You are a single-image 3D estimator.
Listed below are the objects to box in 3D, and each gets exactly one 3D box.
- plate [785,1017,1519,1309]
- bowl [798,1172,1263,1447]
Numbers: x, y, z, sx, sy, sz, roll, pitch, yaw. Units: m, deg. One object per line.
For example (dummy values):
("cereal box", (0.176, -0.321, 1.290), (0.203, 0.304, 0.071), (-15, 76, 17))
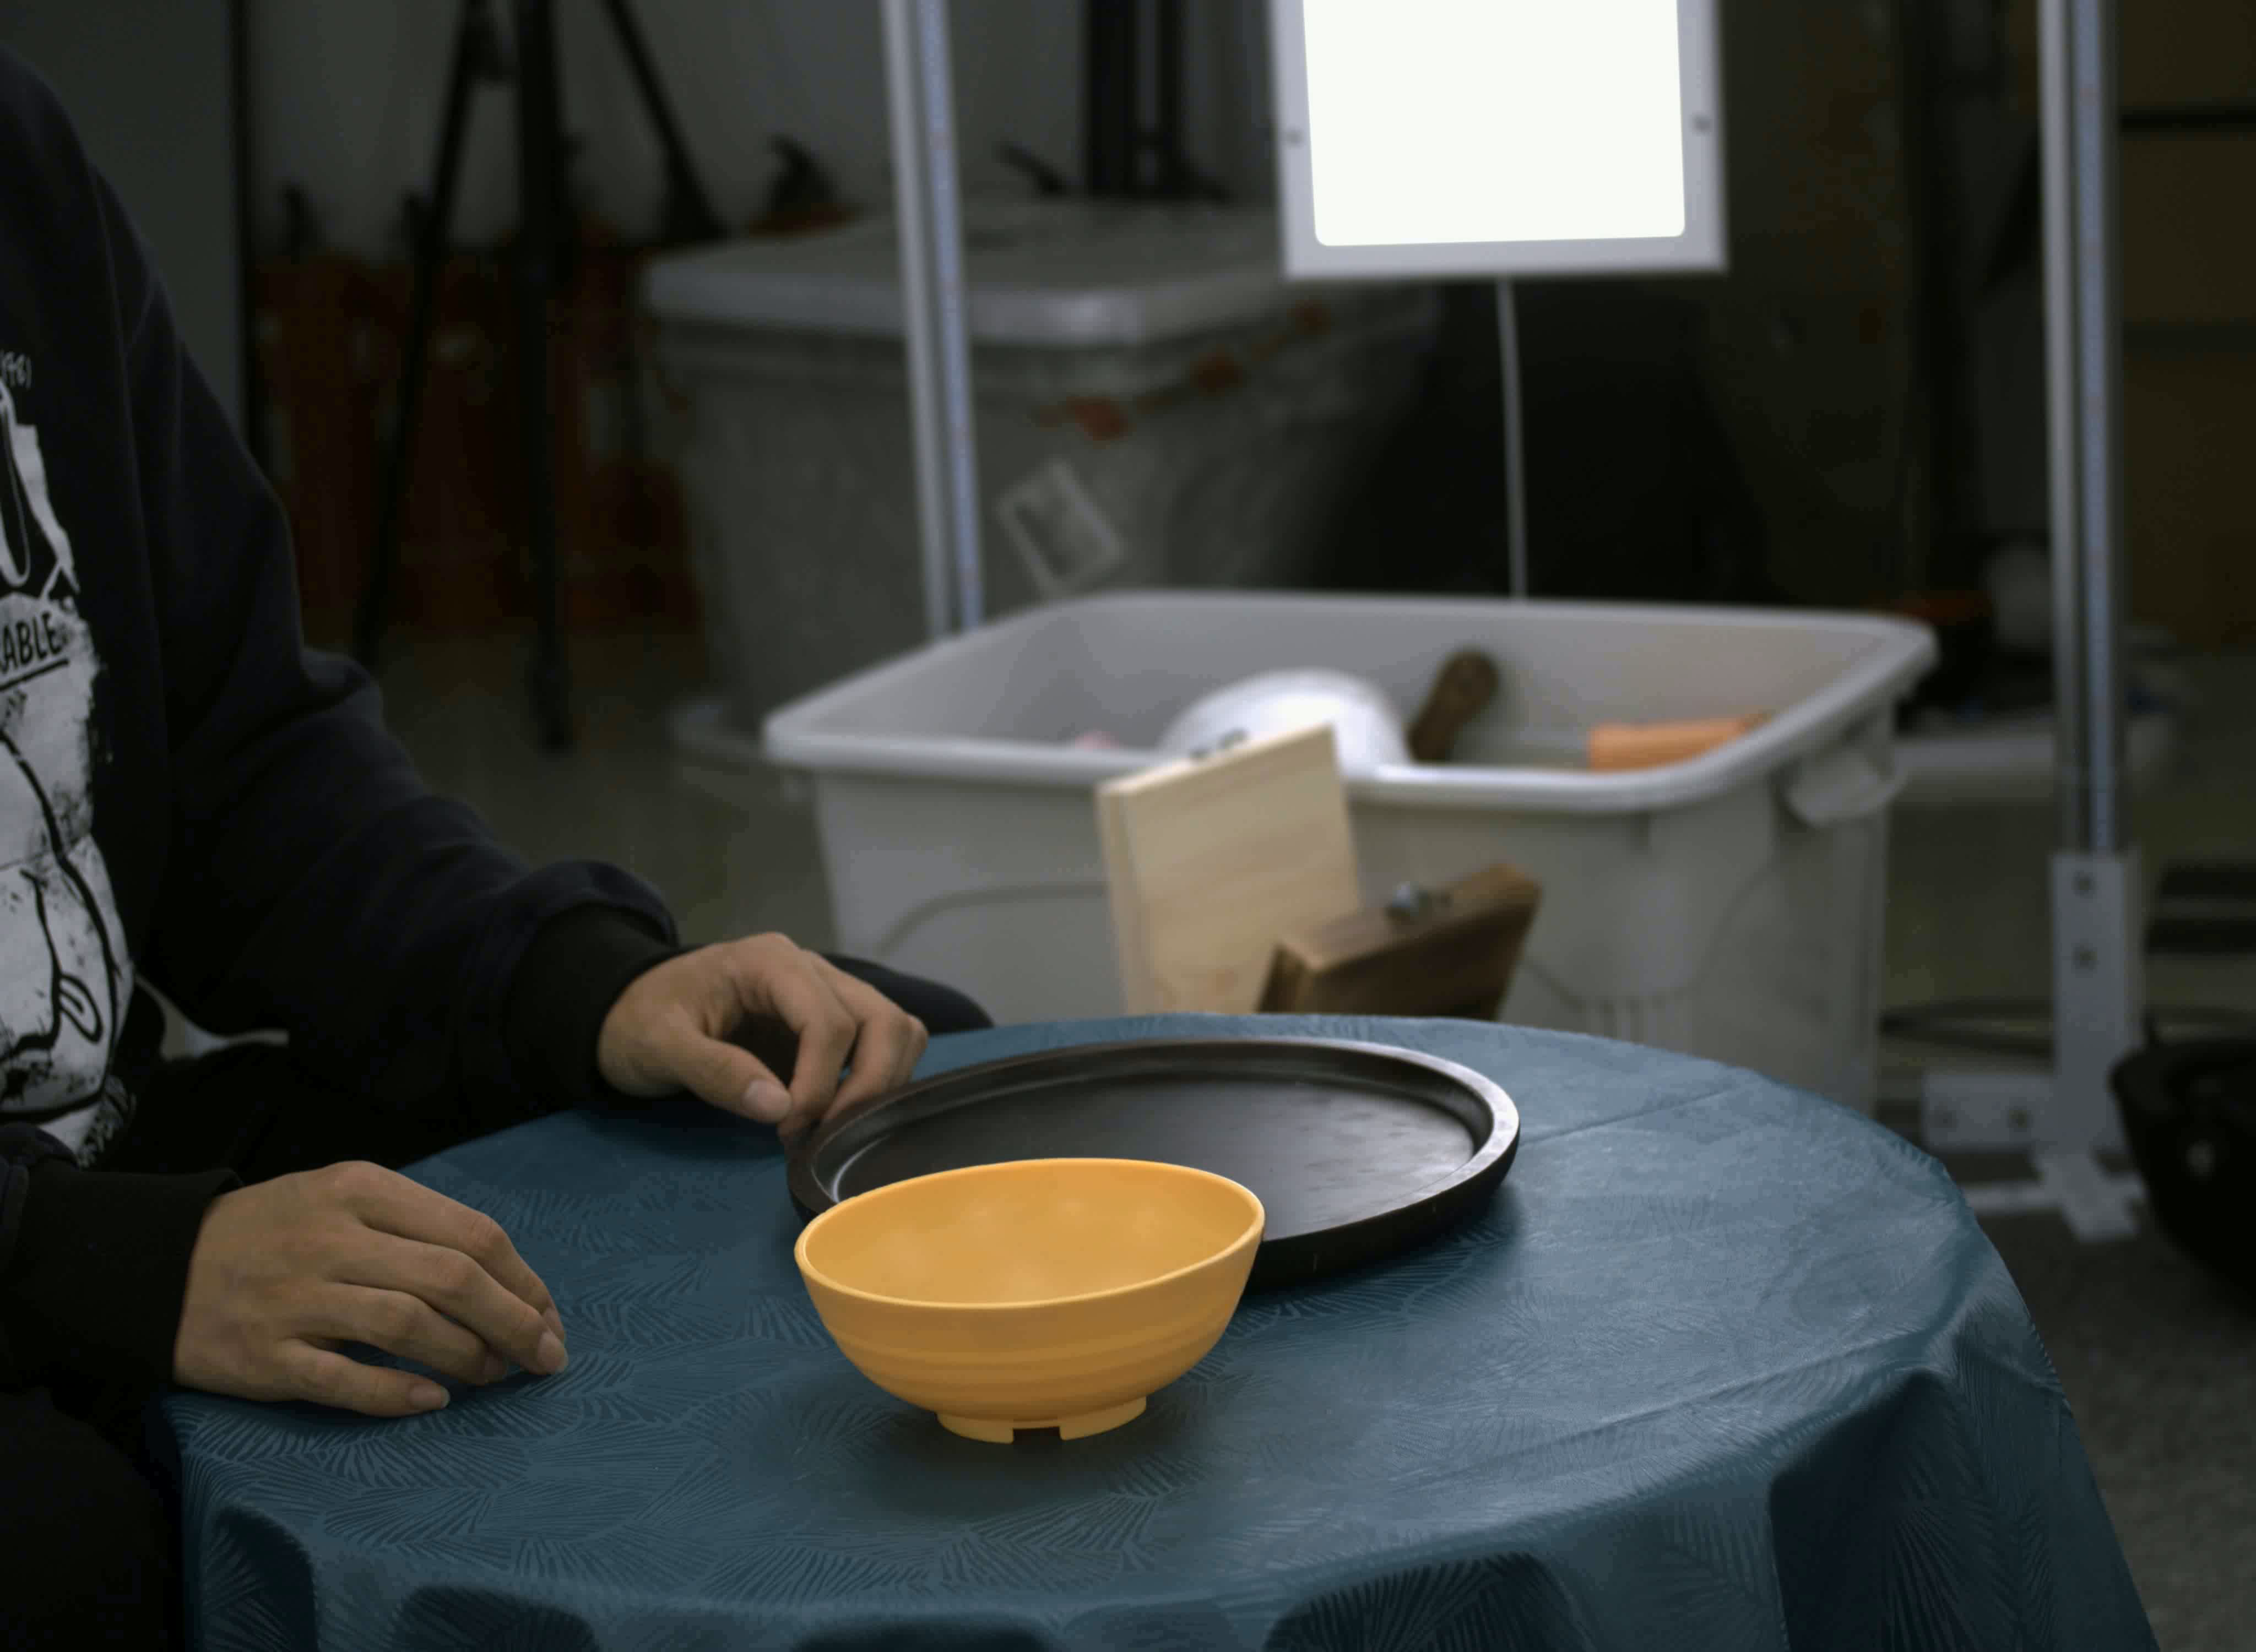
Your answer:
("plate", (0.009, 0.117, 1.886), (0.254, 0.029, 0.254), (-6, 15, 0))
("bowl", (-0.027, 0.152, 1.686), (0.145, 0.060, 0.145), (-6, 11, 0))
